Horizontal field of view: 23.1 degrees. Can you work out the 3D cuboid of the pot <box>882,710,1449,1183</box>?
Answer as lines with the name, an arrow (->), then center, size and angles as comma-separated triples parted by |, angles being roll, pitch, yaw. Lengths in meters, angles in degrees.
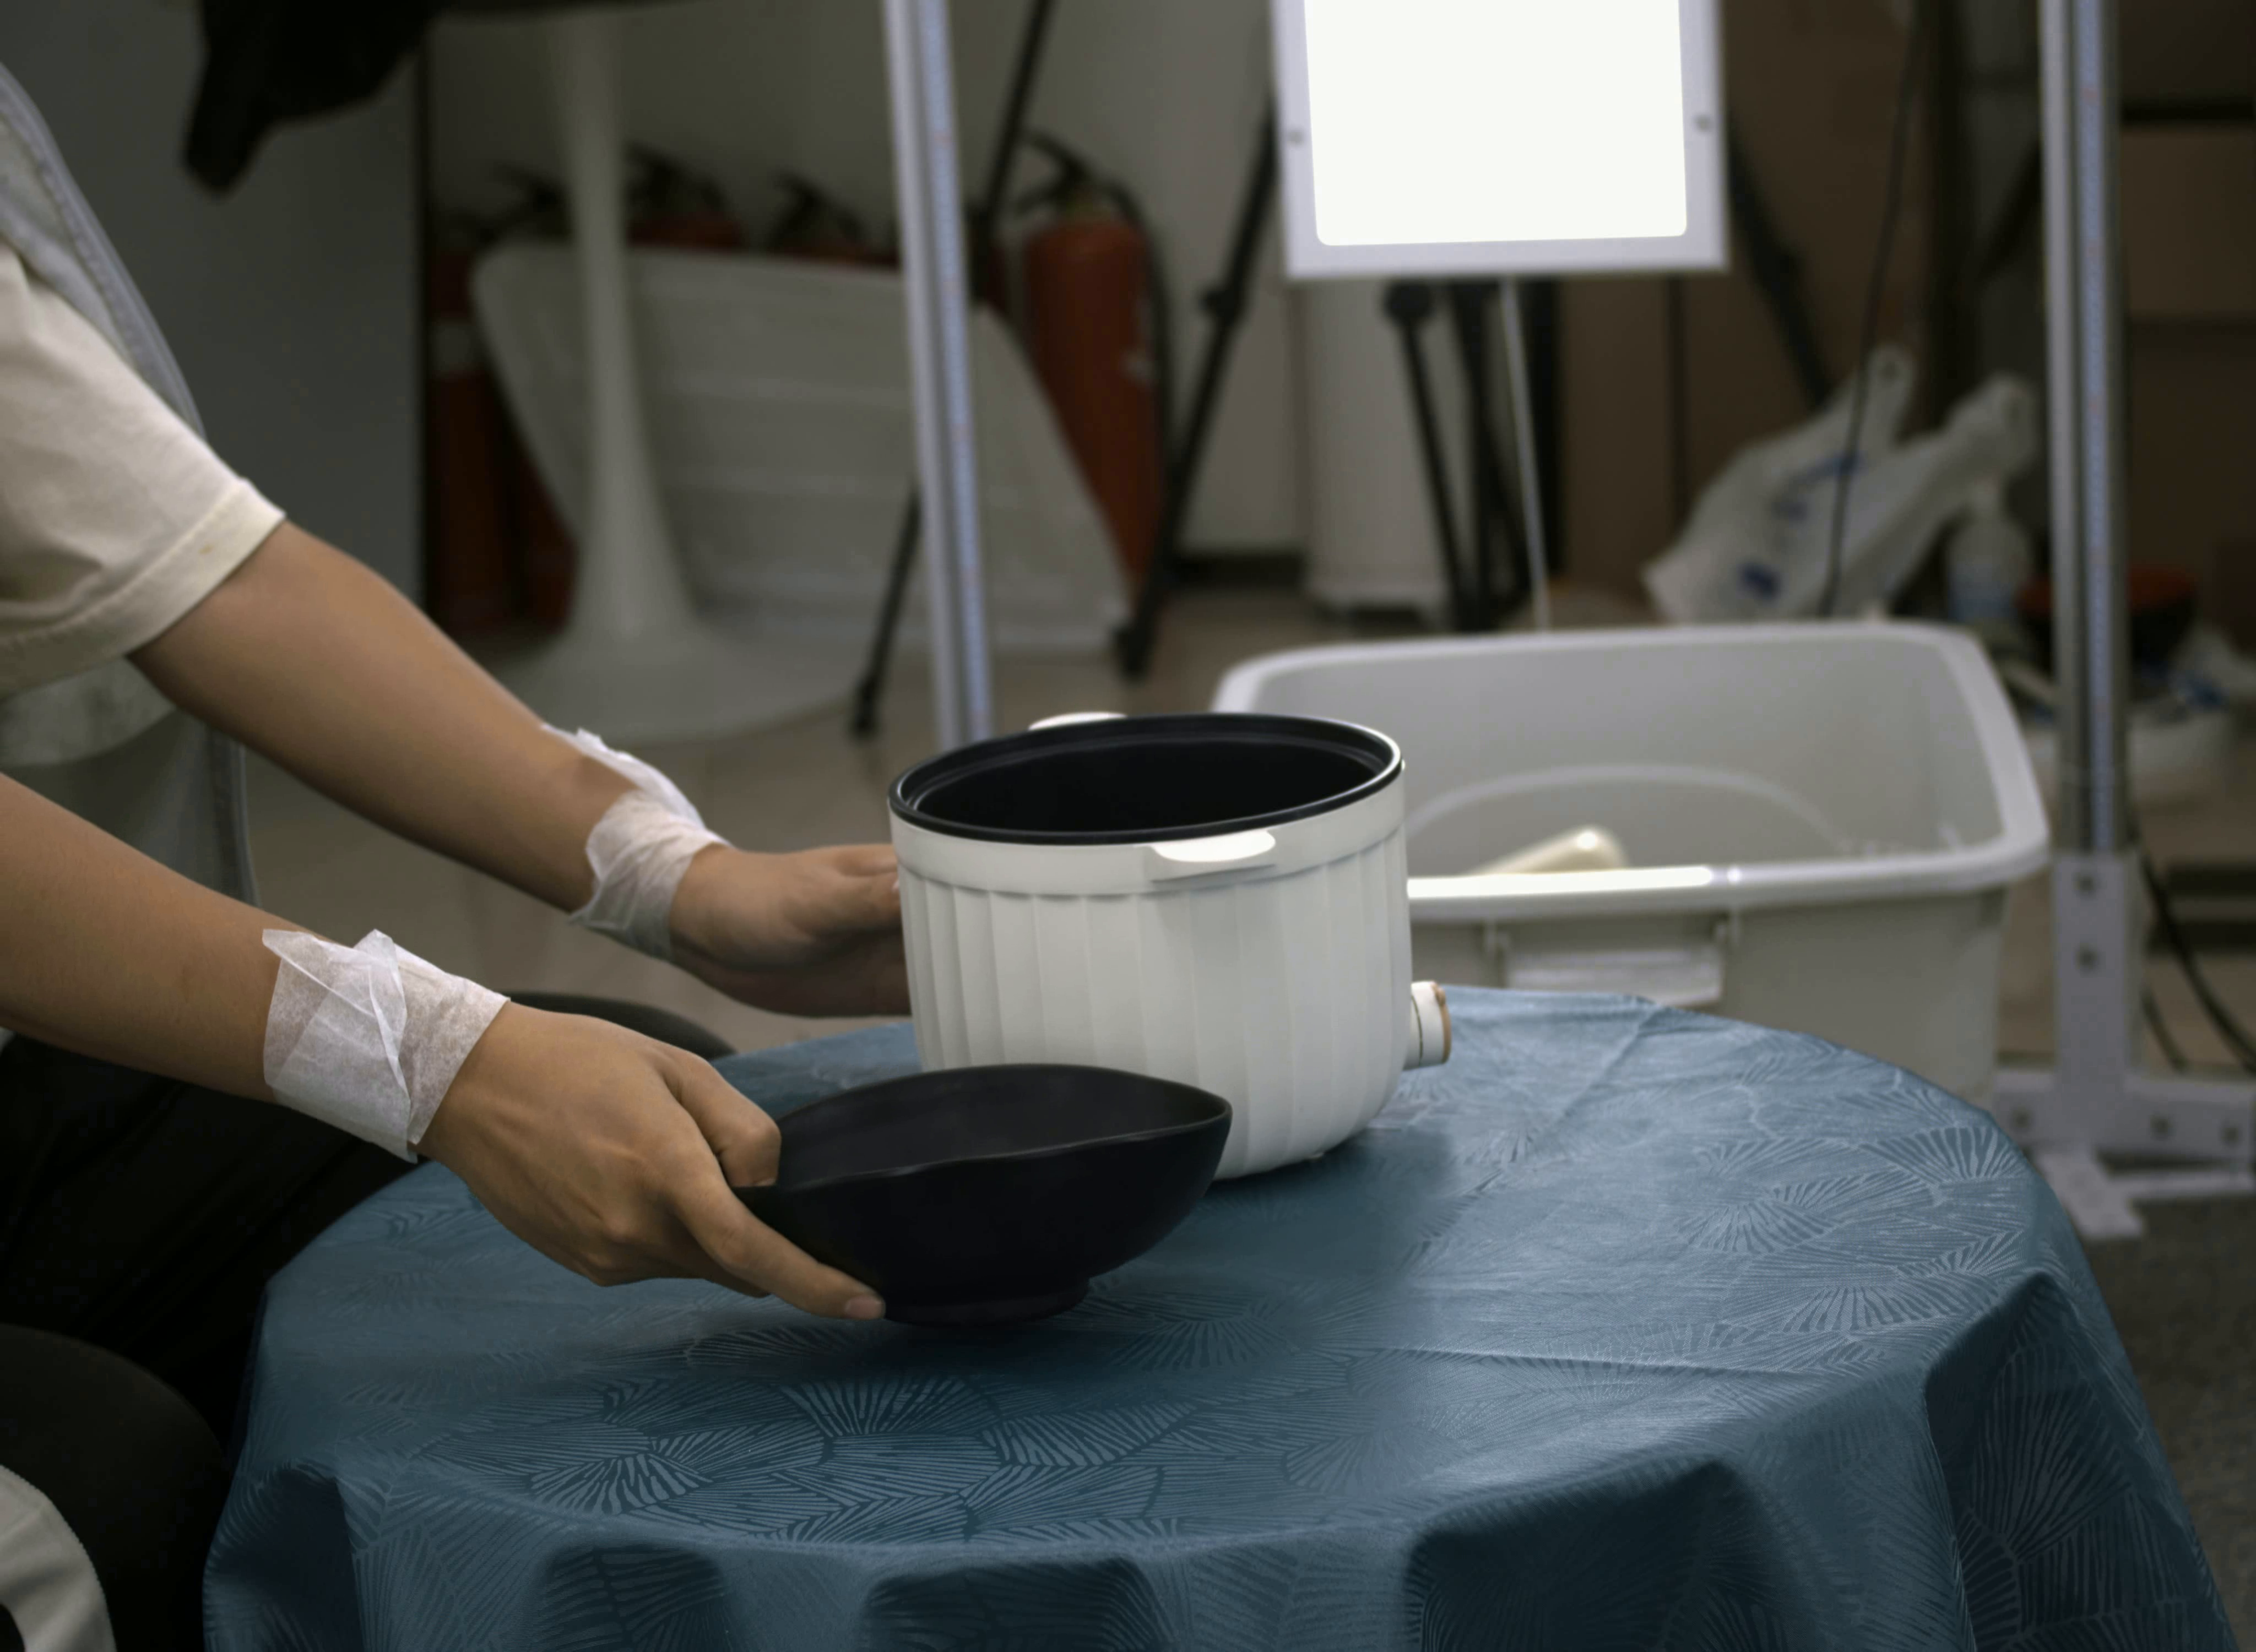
pot -> 0.015, 0.044, 1.939 | 0.188, 0.143, 0.242 | -11, 15, -11

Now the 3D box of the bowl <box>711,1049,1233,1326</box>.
bowl -> -0.047, 0.120, 1.760 | 0.168, 0.067, 0.139 | -8, 10, -14
